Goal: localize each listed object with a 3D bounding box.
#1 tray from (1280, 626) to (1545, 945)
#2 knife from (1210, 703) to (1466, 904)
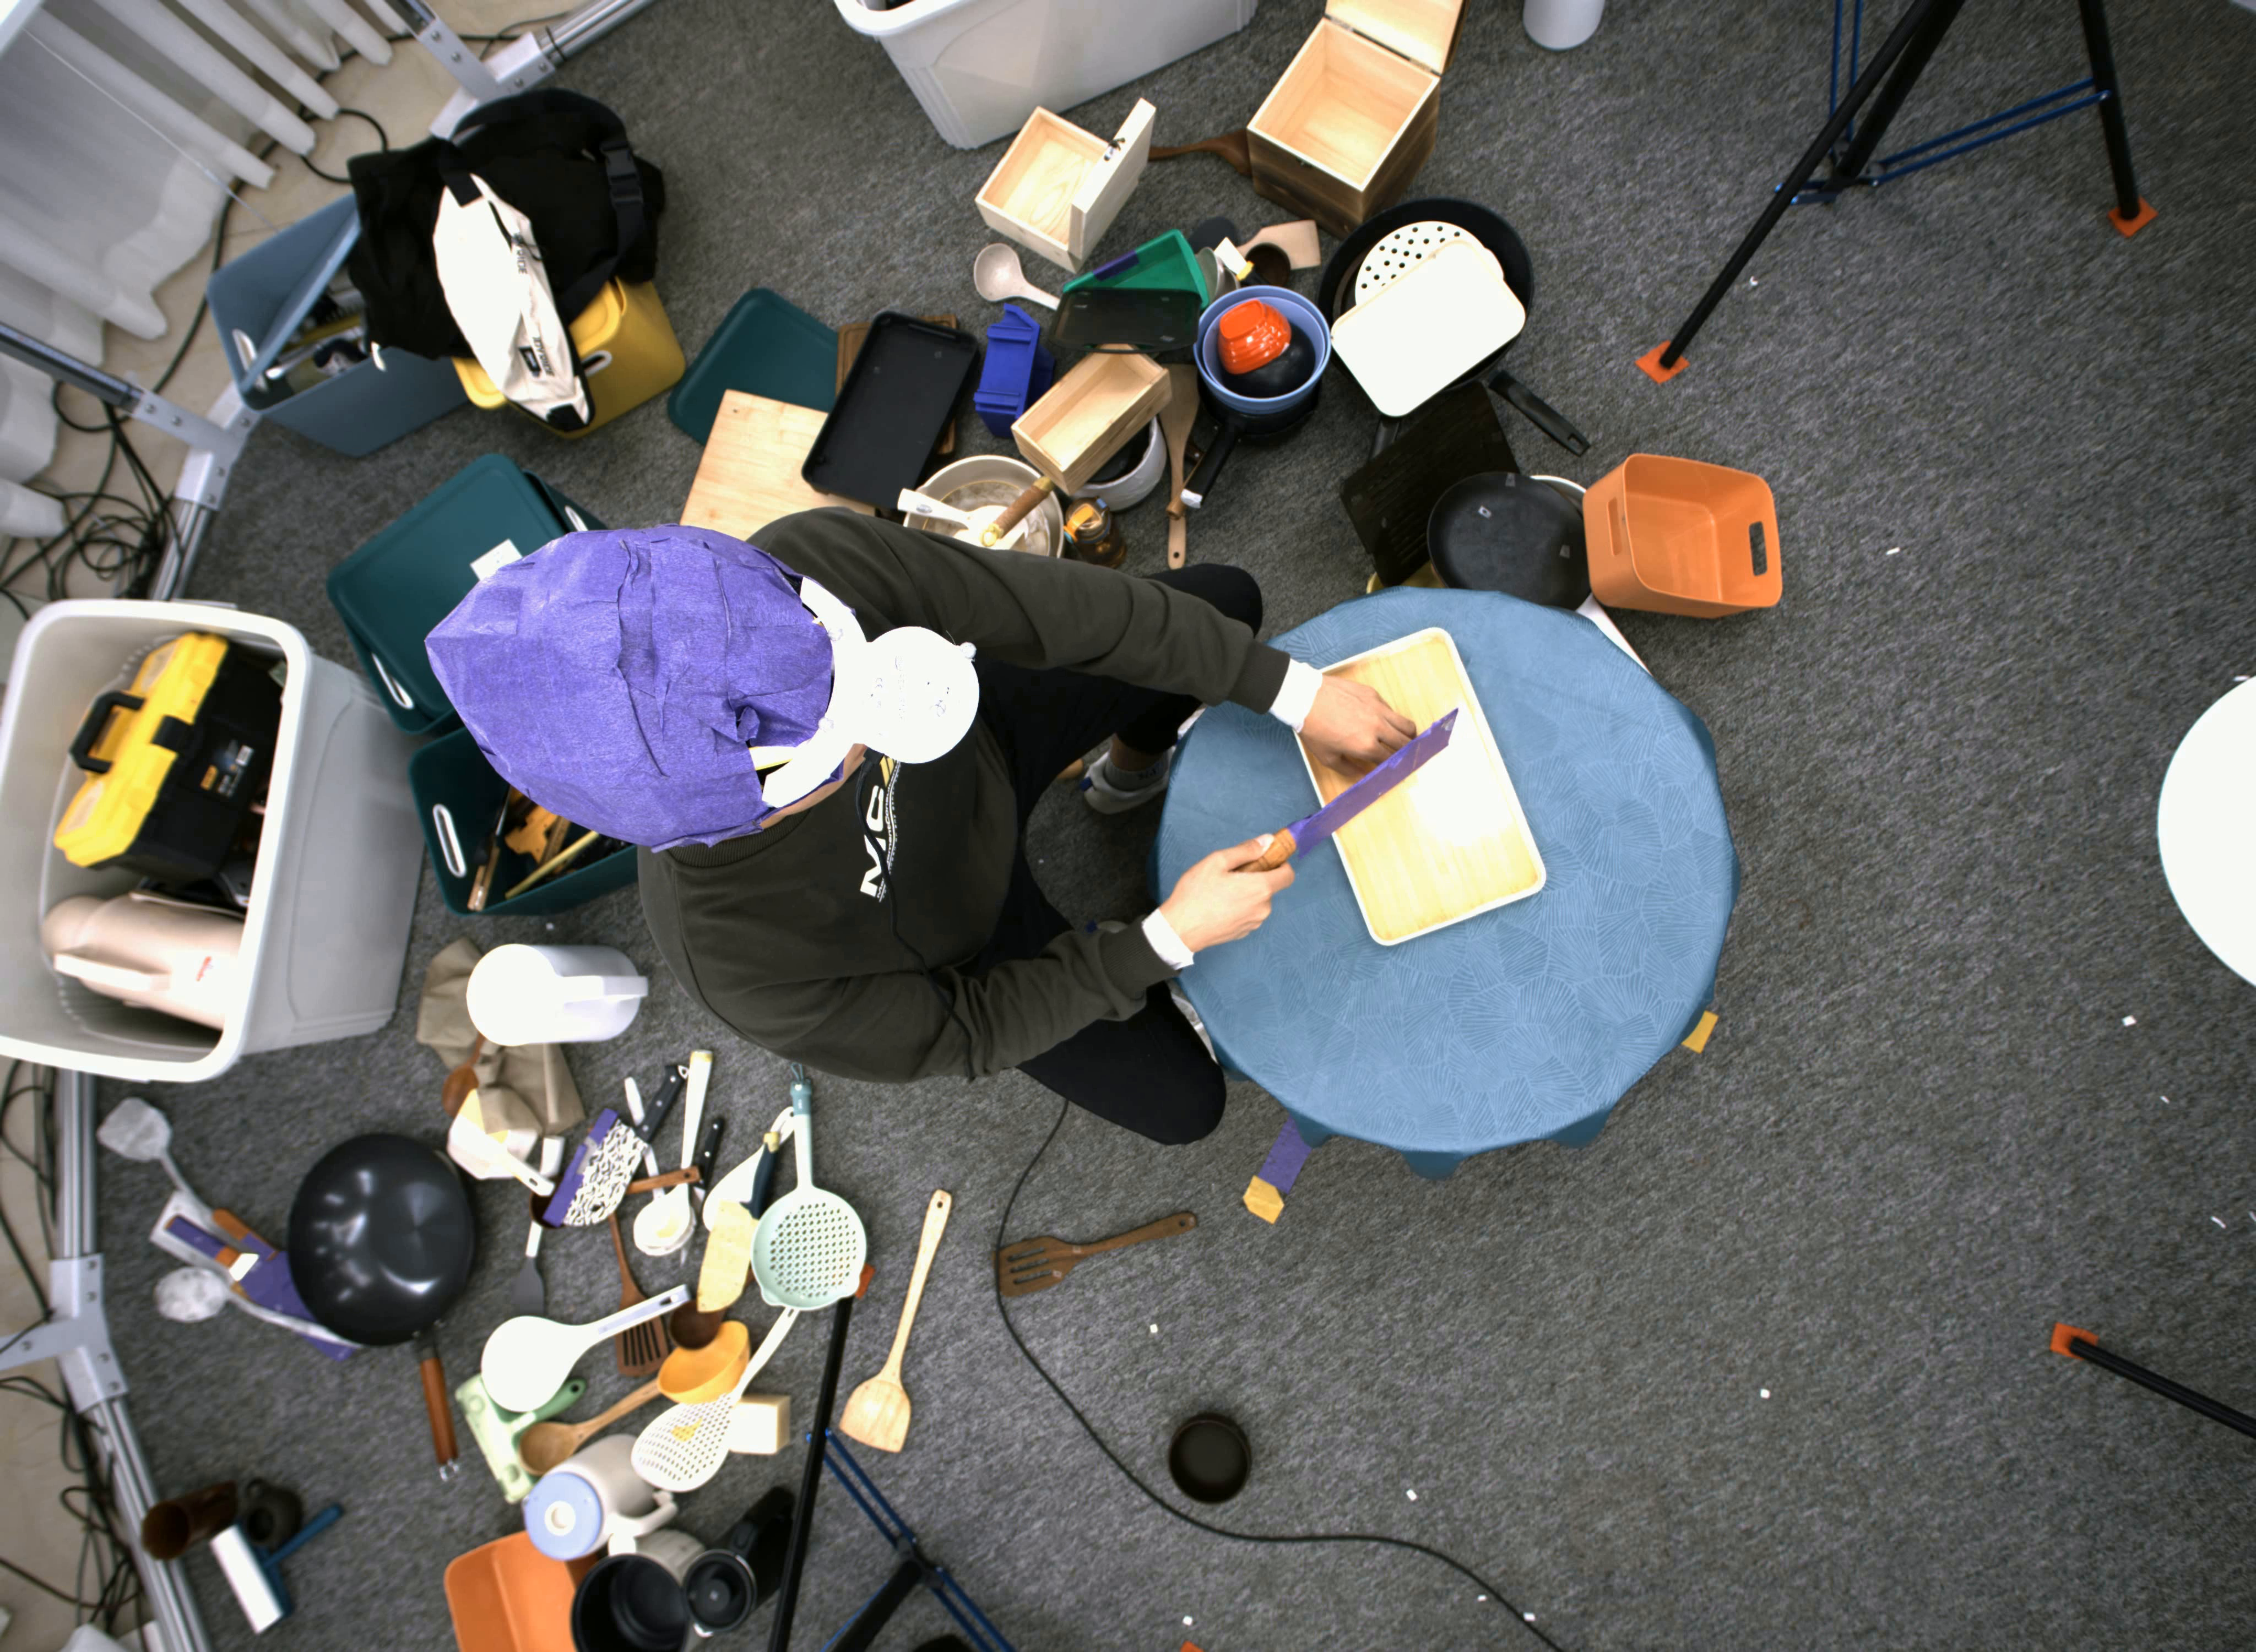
[{"bbox_3d":[0.296,-0.044,1.448,0.193,0.027,0.298,-21,83,9],"label":"tray"},{"bbox_3d":[0.217,-0.013,1.383,0.314,0.105,0.032,-35,68,-7],"label":"knife"}]
